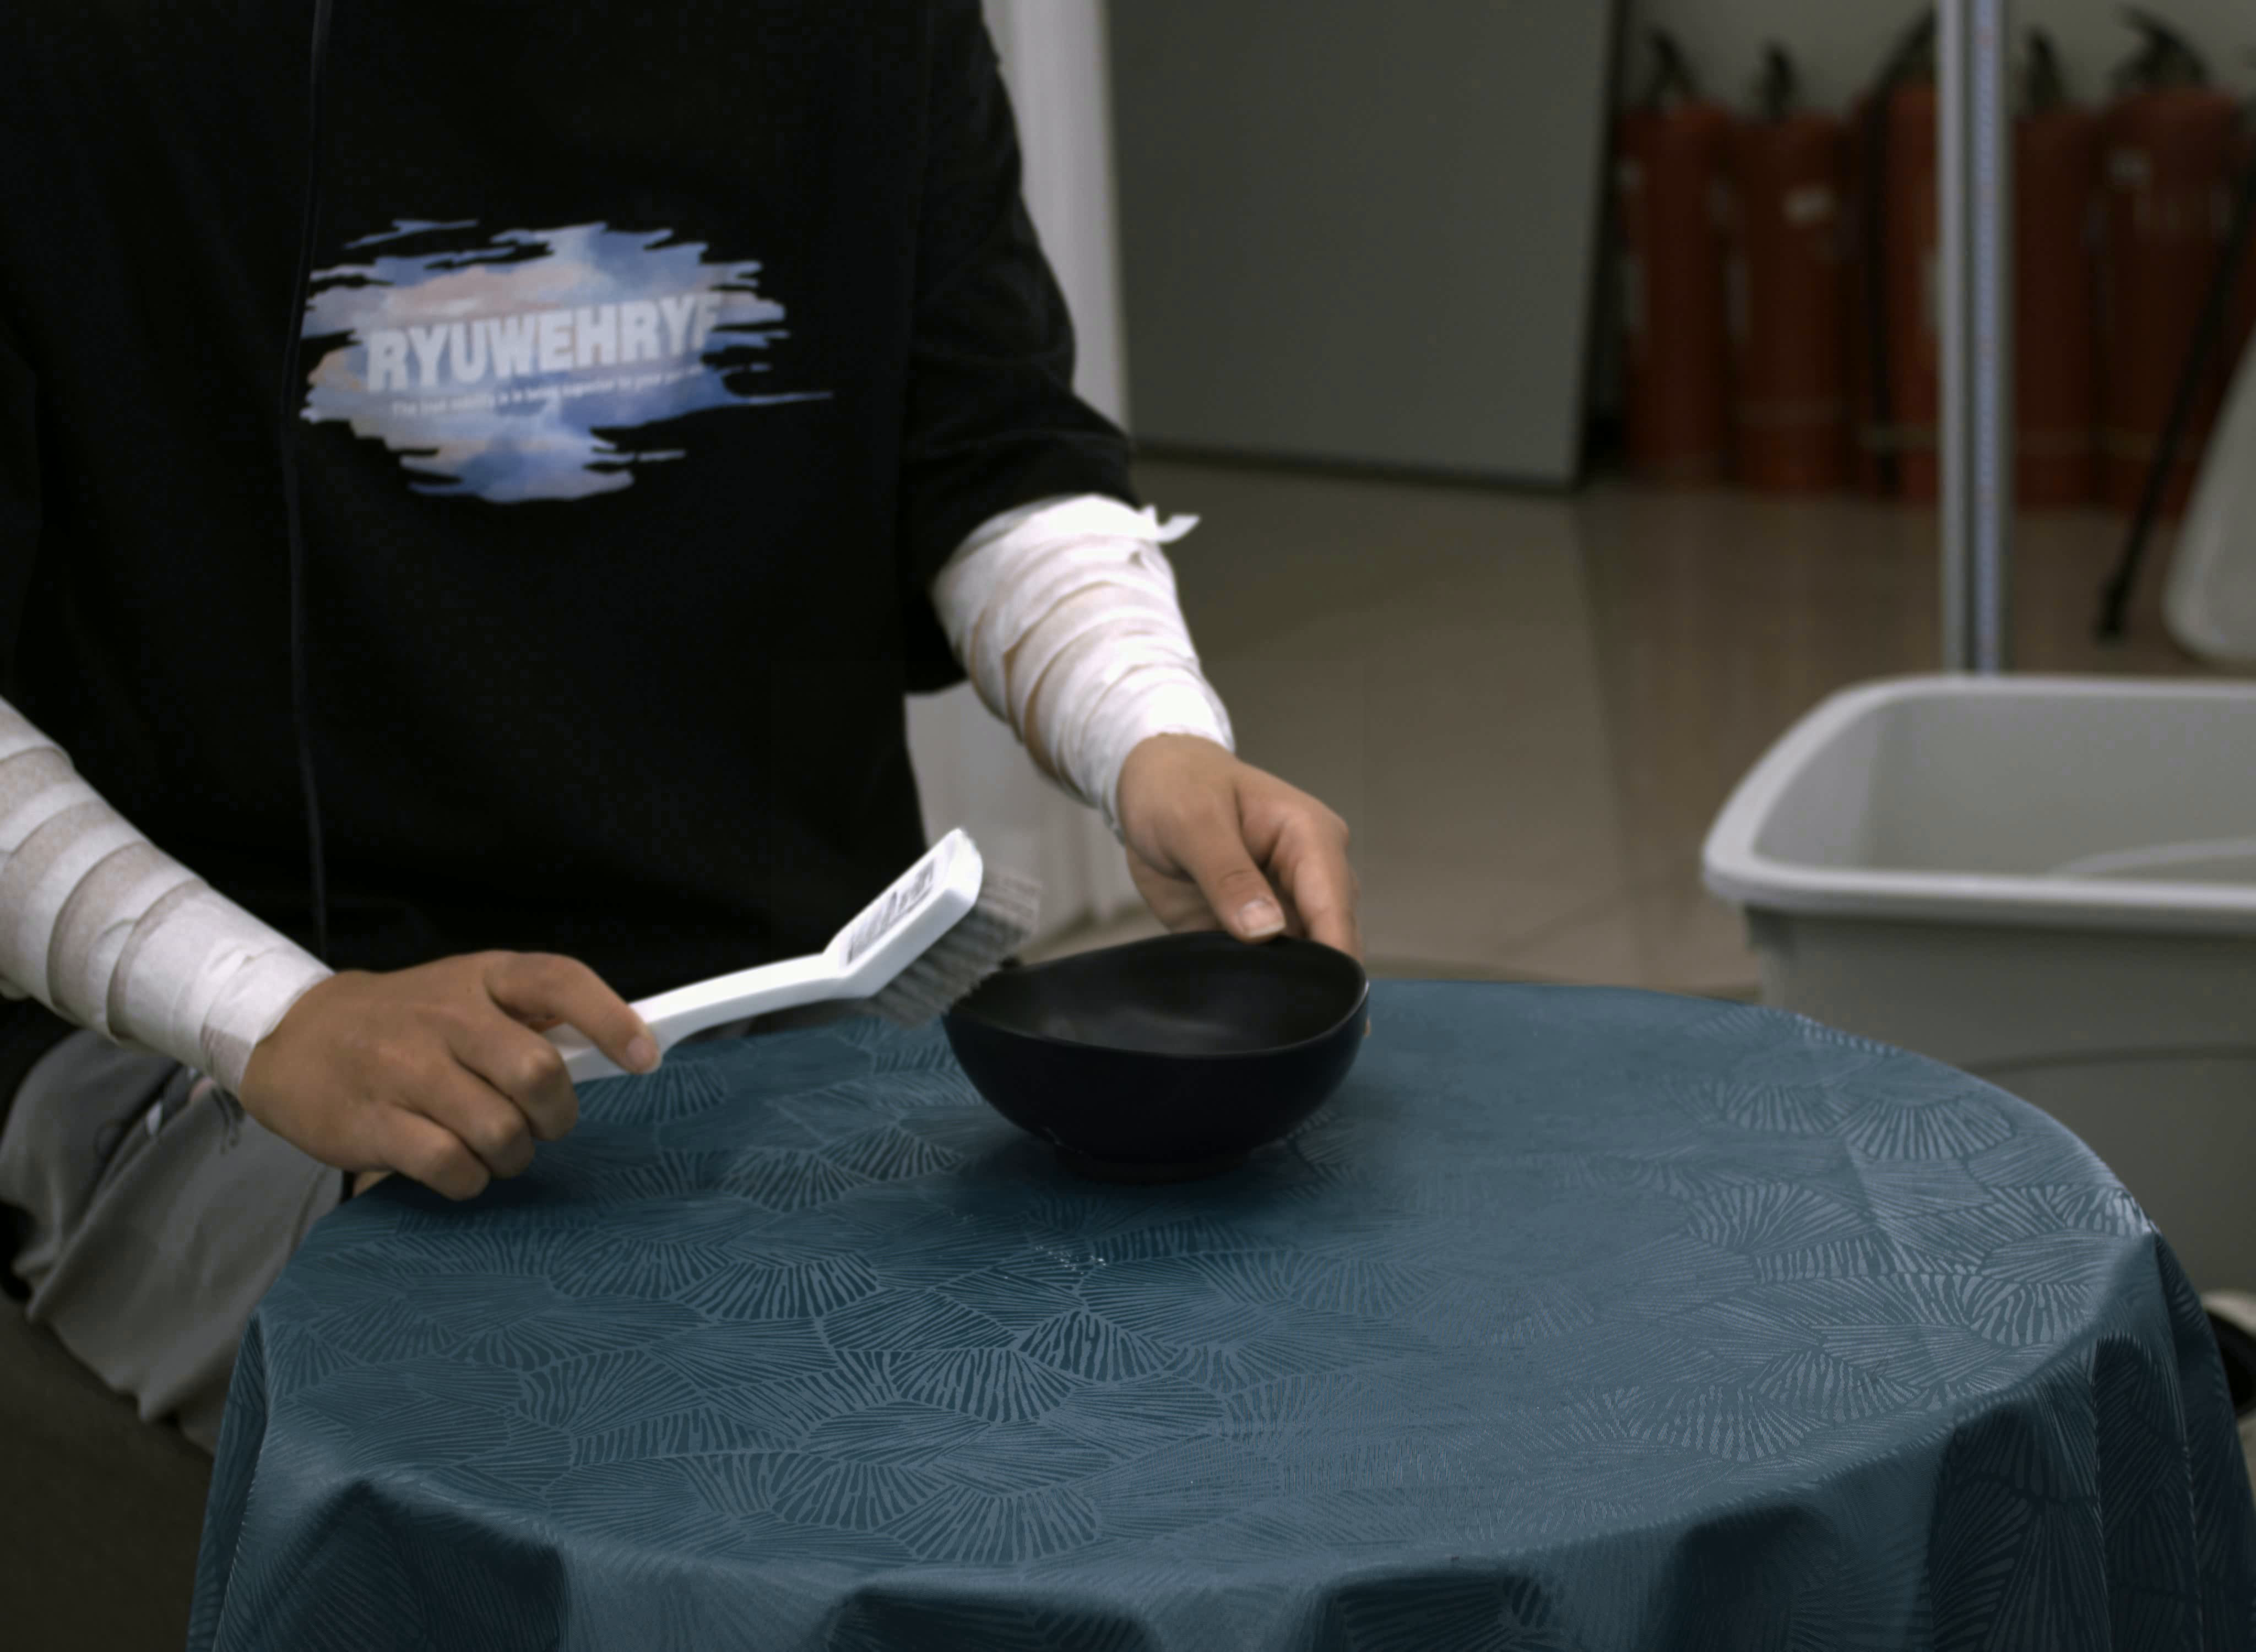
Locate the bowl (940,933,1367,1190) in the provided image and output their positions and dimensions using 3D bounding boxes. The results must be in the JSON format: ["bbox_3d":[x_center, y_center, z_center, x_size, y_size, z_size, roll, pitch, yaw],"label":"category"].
[{"bbox_3d":[0.009,0.082,1.799,0.134,0.067,0.172,-12,13,-29],"label":"bowl"}]

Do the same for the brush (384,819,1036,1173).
[{"bbox_3d":[-0.137,0.071,1.802,0.243,0.050,0.034,-28,31,15],"label":"brush"}]
